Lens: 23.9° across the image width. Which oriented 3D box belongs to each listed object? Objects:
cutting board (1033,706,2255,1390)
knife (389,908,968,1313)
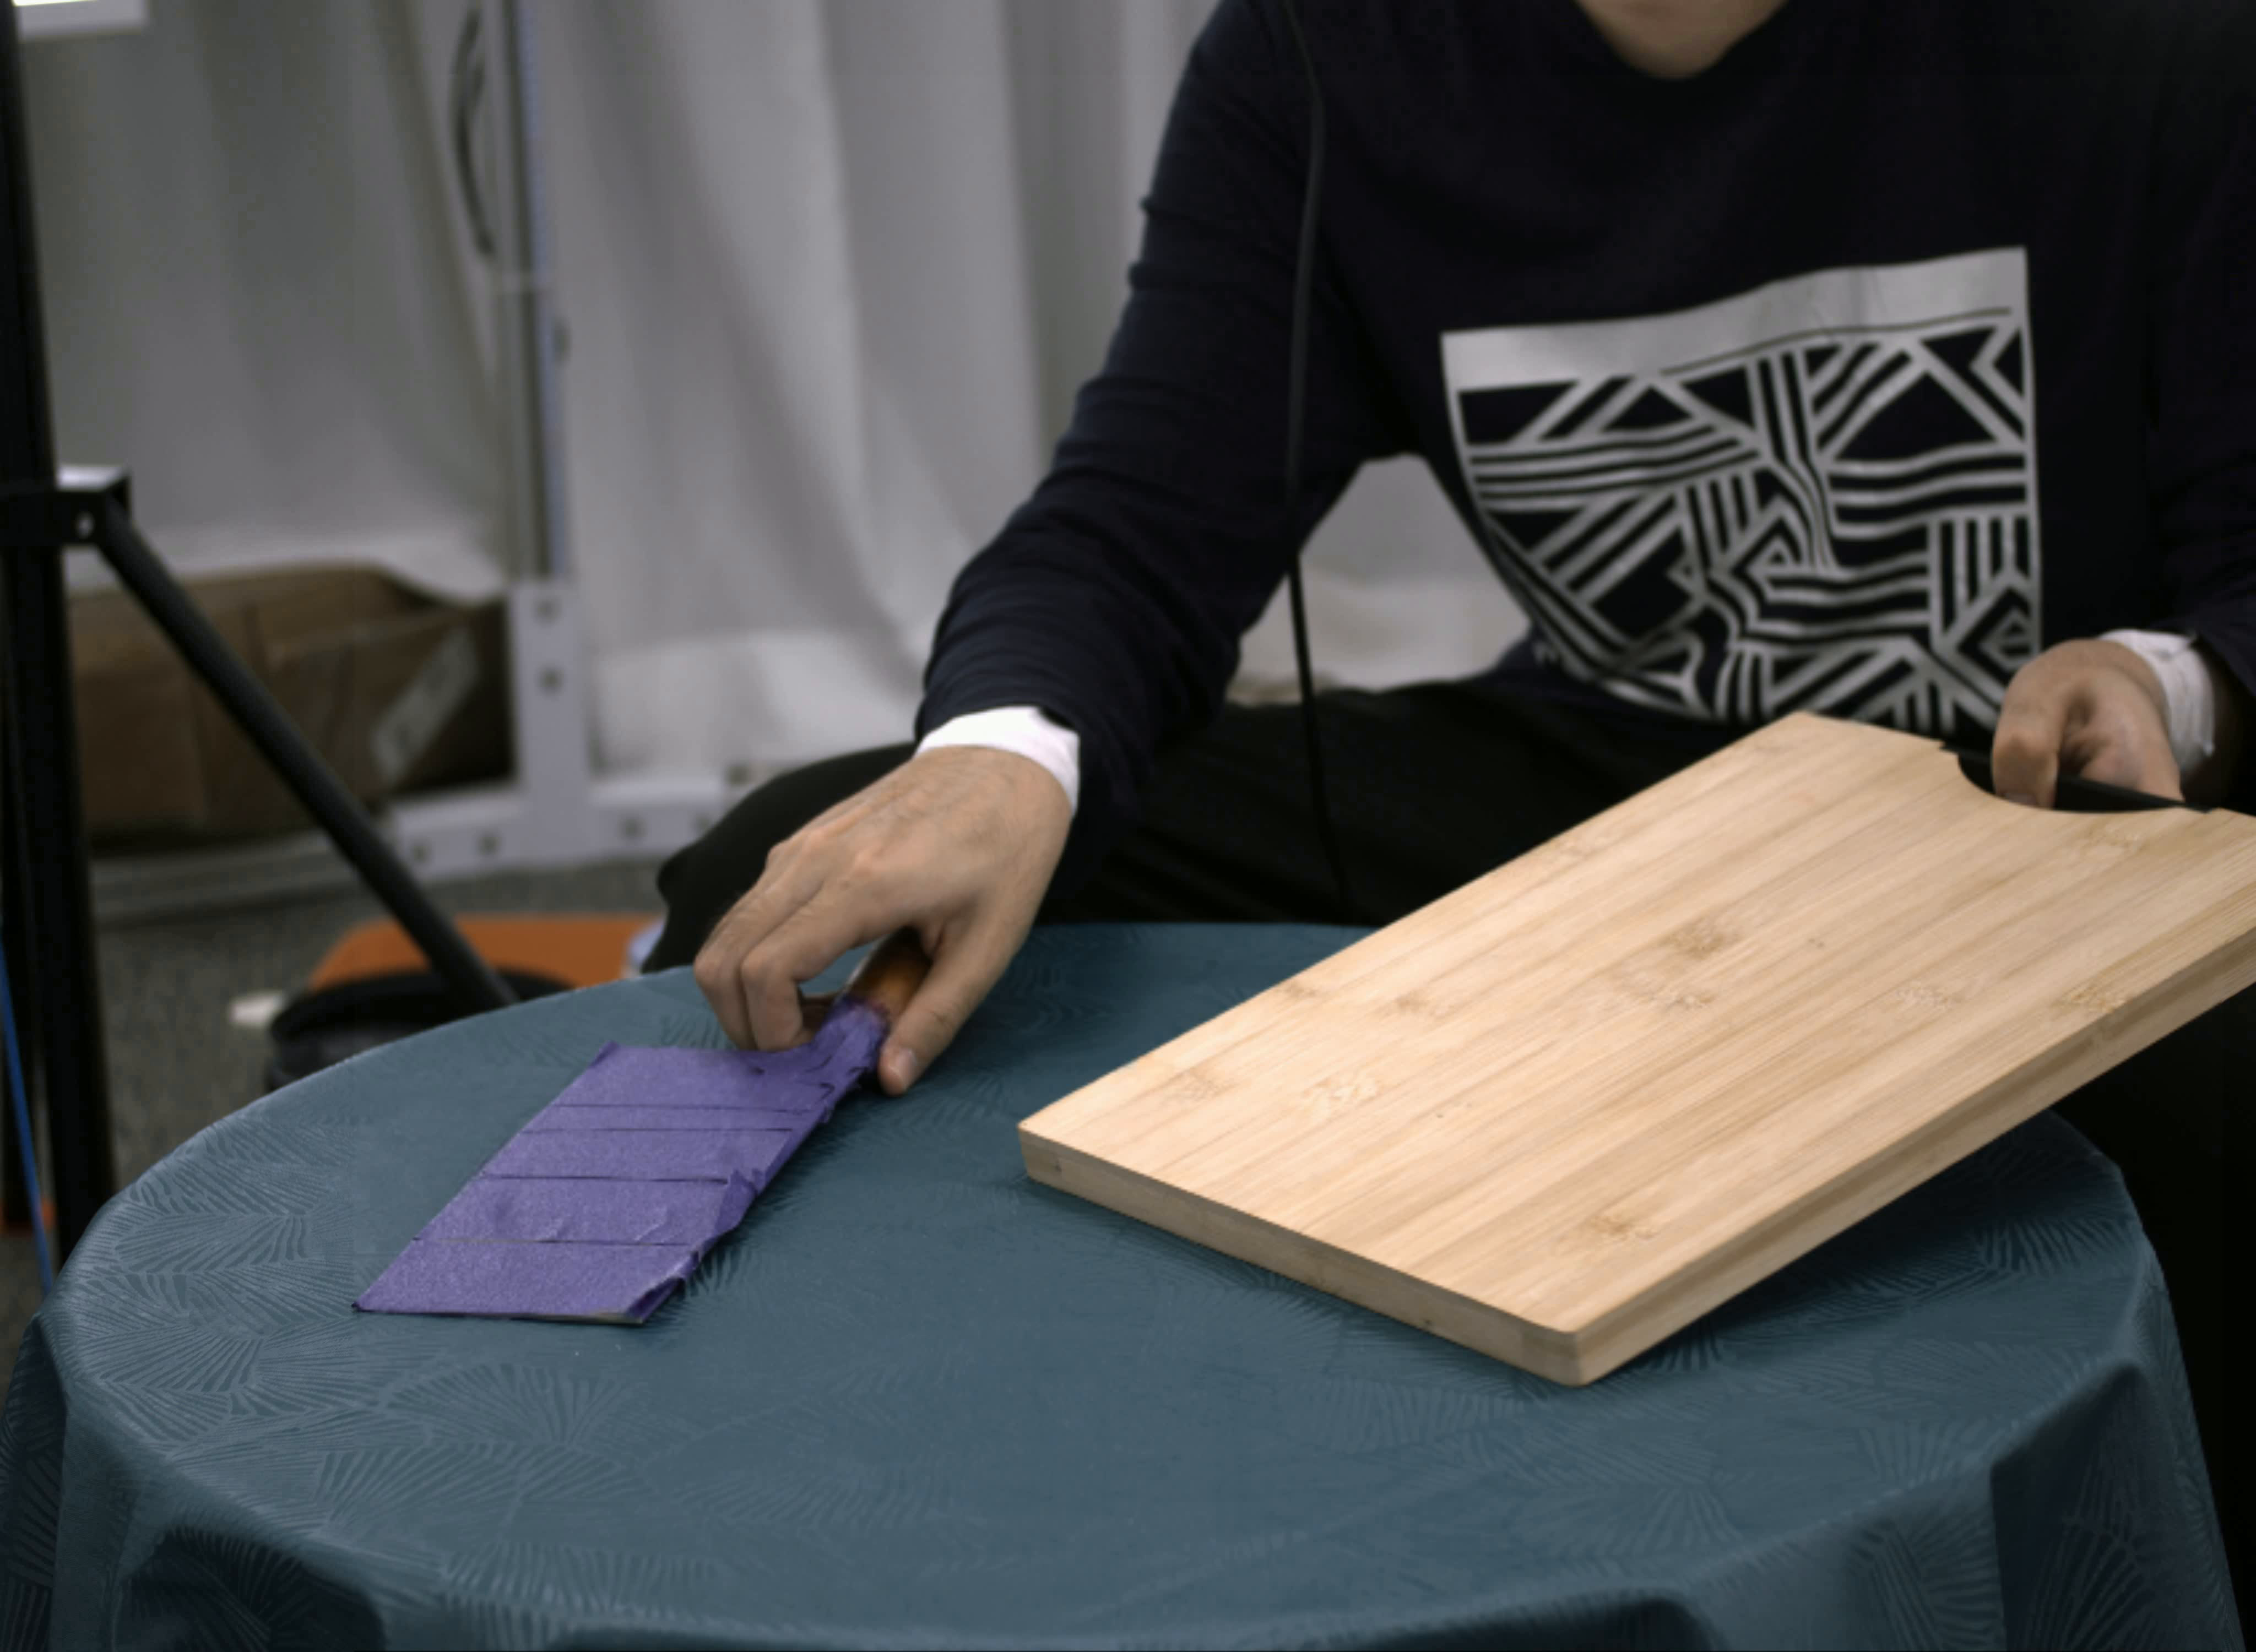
[{"bbox_3d":[0.175,0.055,1.573,0.342,0.023,0.256,-27,27,-32],"label":"cutting board"},{"bbox_3d":[-0.133,0.083,1.620,0.105,0.032,0.312,1,17,16],"label":"knife"}]
